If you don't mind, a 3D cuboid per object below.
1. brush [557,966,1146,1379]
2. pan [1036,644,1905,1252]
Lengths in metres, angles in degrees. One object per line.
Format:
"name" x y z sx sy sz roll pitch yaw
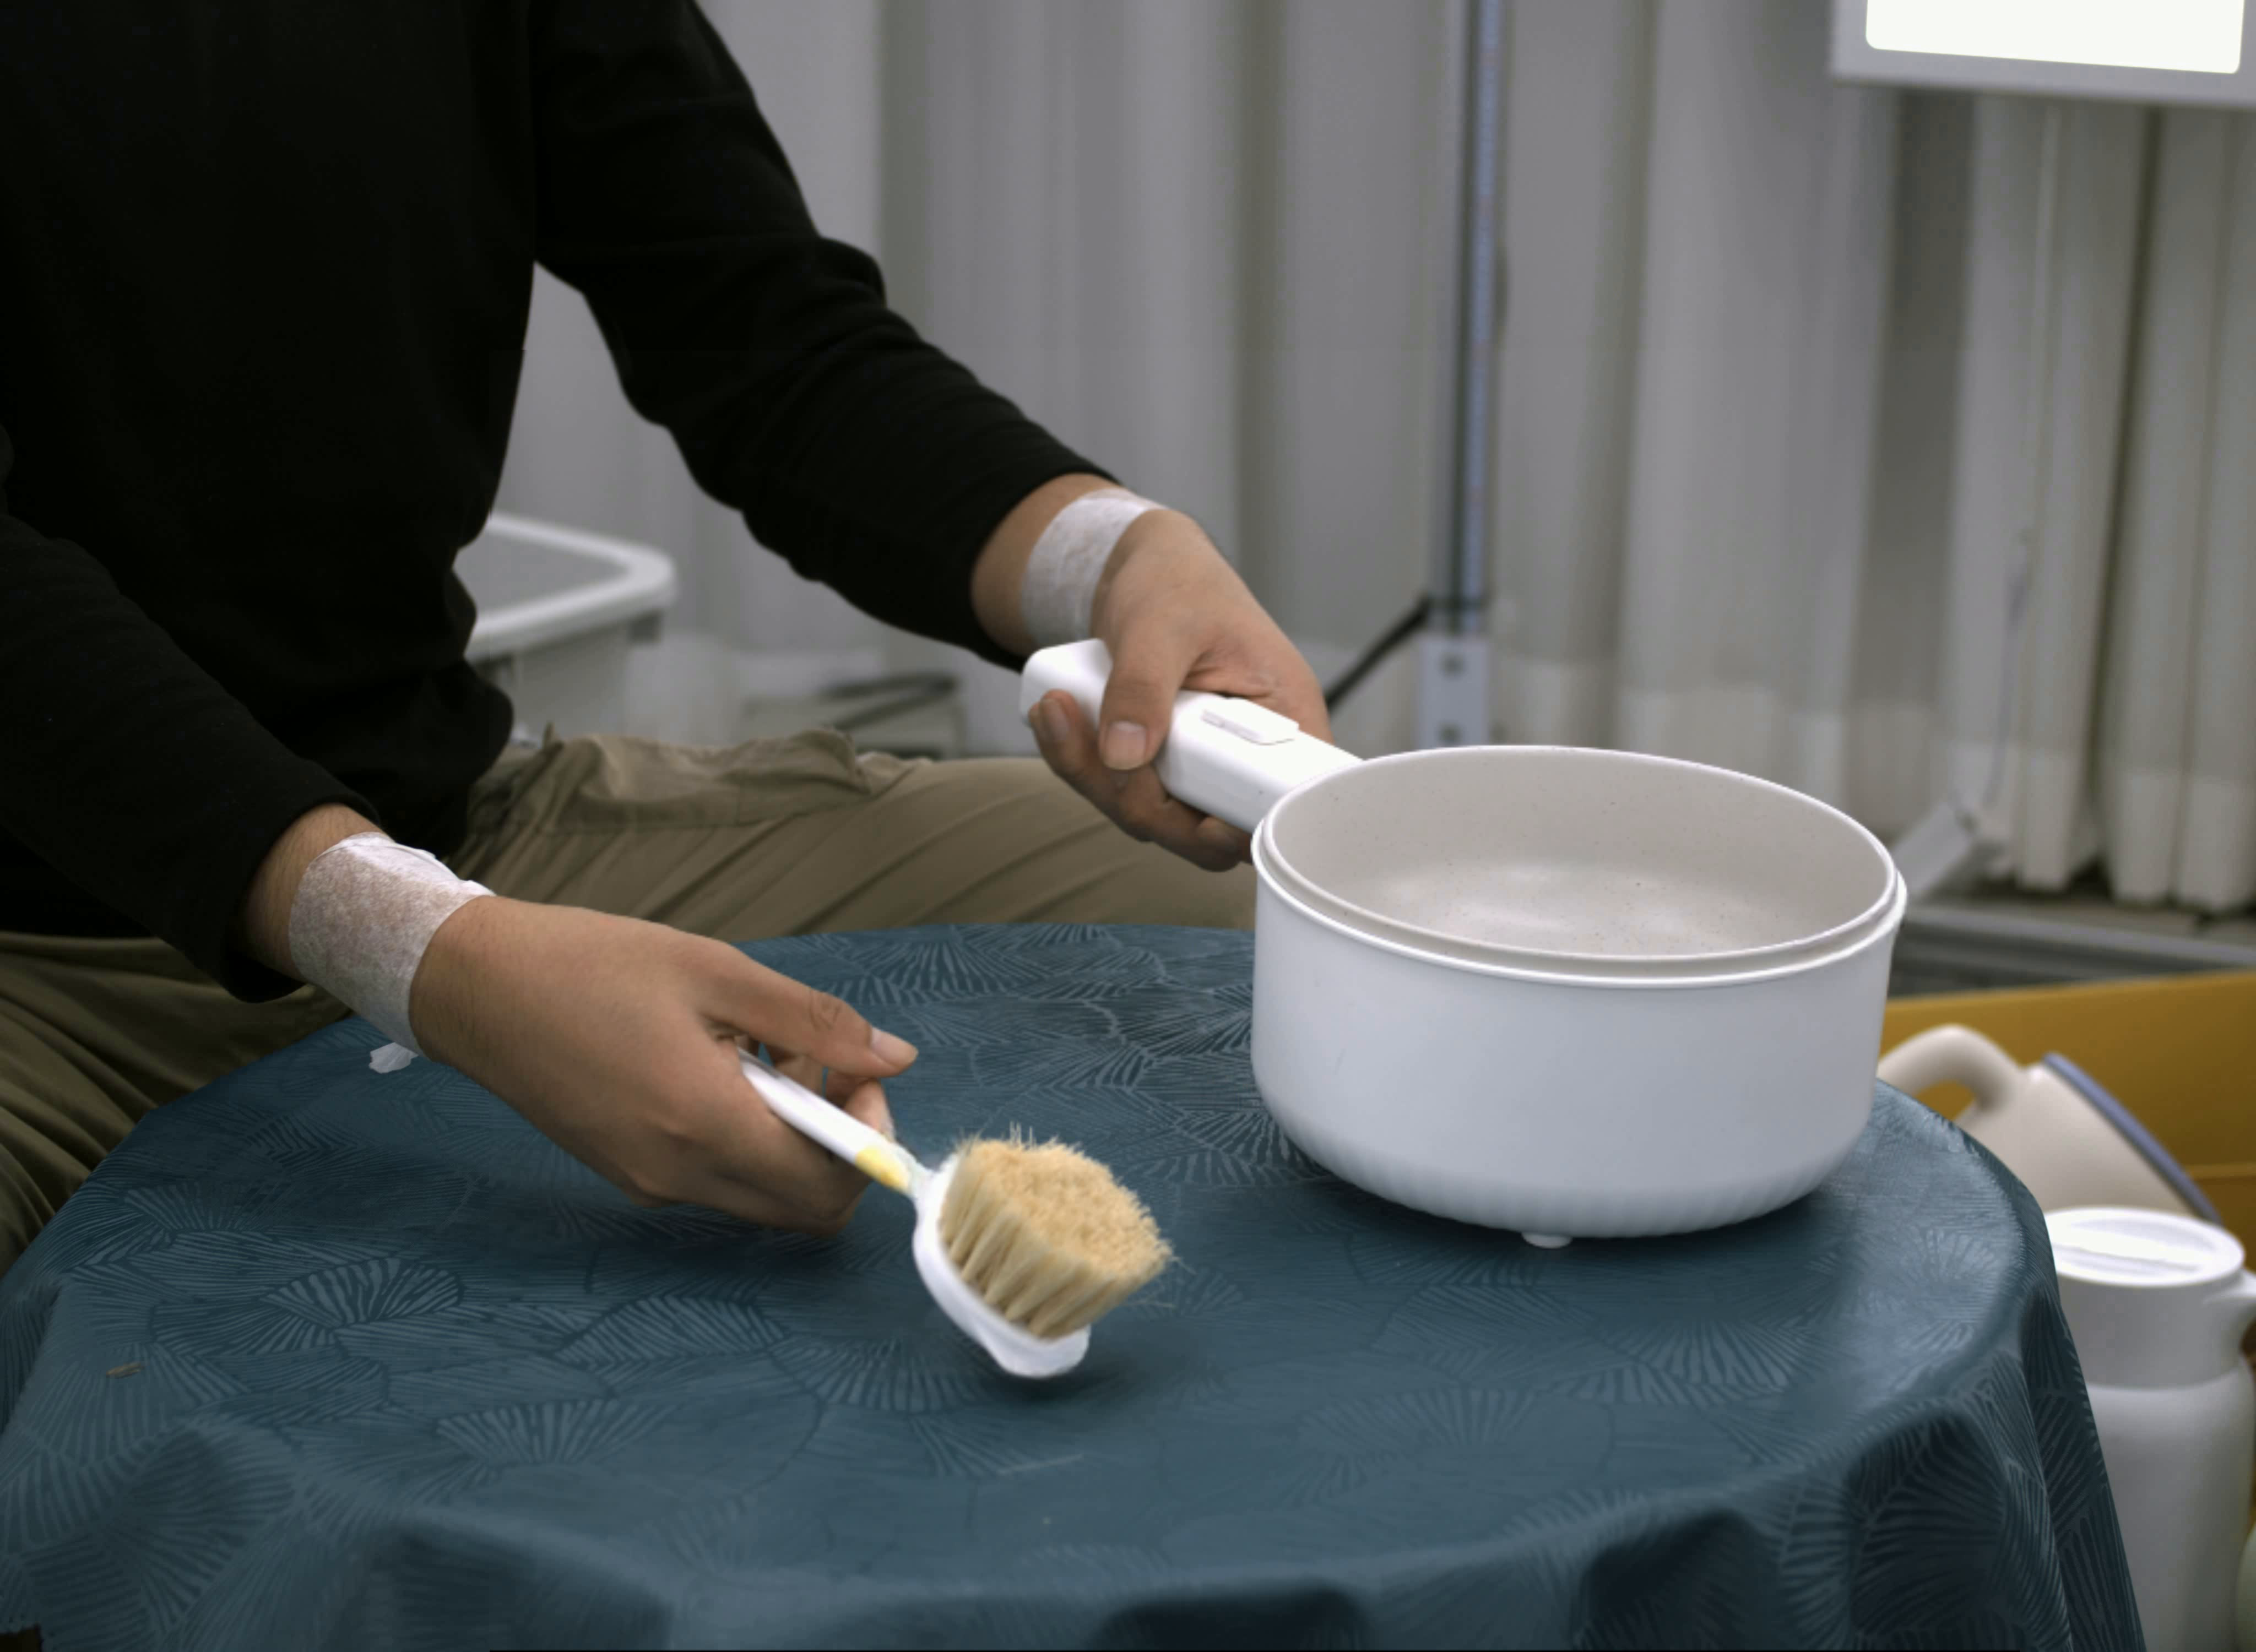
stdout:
"brush" -0.087 0.077 1.532 0.069 0.056 0.263 25 7 -42
"pan" 0.089 0.033 1.687 0.202 0.103 0.350 -13 25 -37
